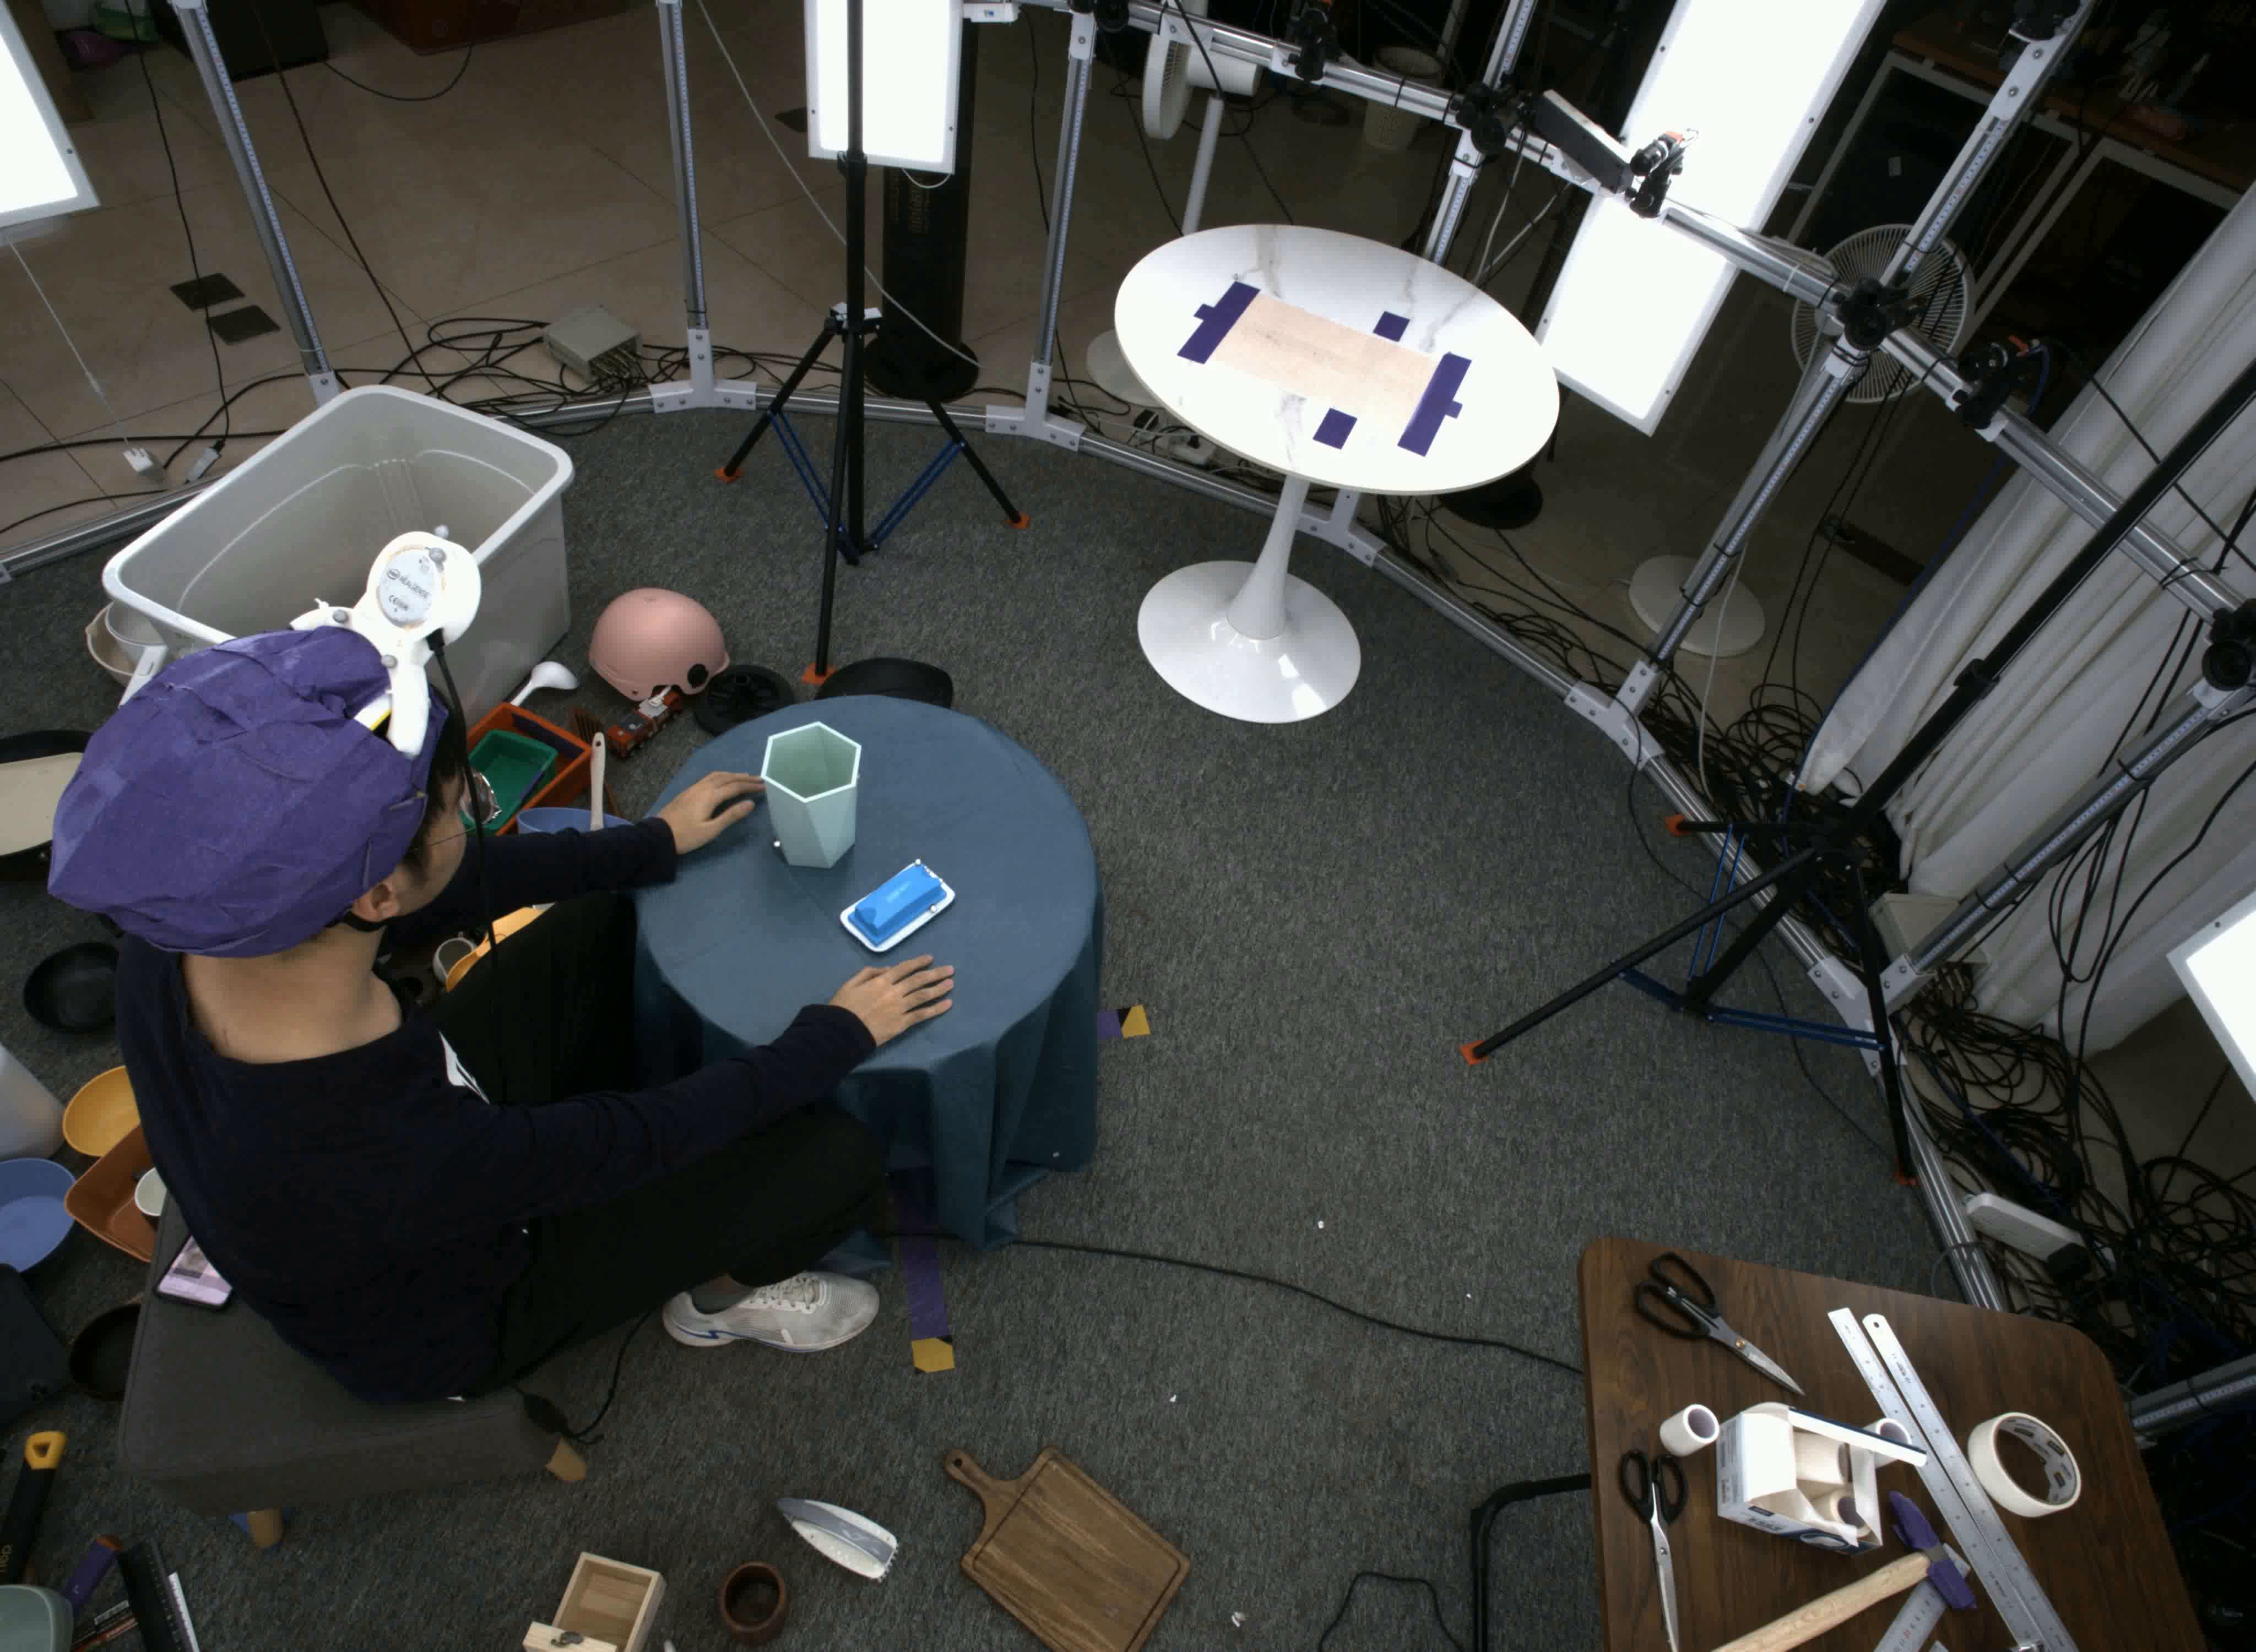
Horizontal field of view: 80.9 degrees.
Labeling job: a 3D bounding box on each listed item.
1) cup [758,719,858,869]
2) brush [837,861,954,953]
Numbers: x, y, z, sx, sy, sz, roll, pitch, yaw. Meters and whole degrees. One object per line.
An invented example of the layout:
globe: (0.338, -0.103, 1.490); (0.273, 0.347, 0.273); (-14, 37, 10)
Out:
cup: (-0.403, -0.034, 1.652); (0.129, 0.166, 0.114); (27, 53, 9)
brush: (-0.294, 0.094, 1.649); (0.082, 0.057, 0.144); (40, 52, 21)
